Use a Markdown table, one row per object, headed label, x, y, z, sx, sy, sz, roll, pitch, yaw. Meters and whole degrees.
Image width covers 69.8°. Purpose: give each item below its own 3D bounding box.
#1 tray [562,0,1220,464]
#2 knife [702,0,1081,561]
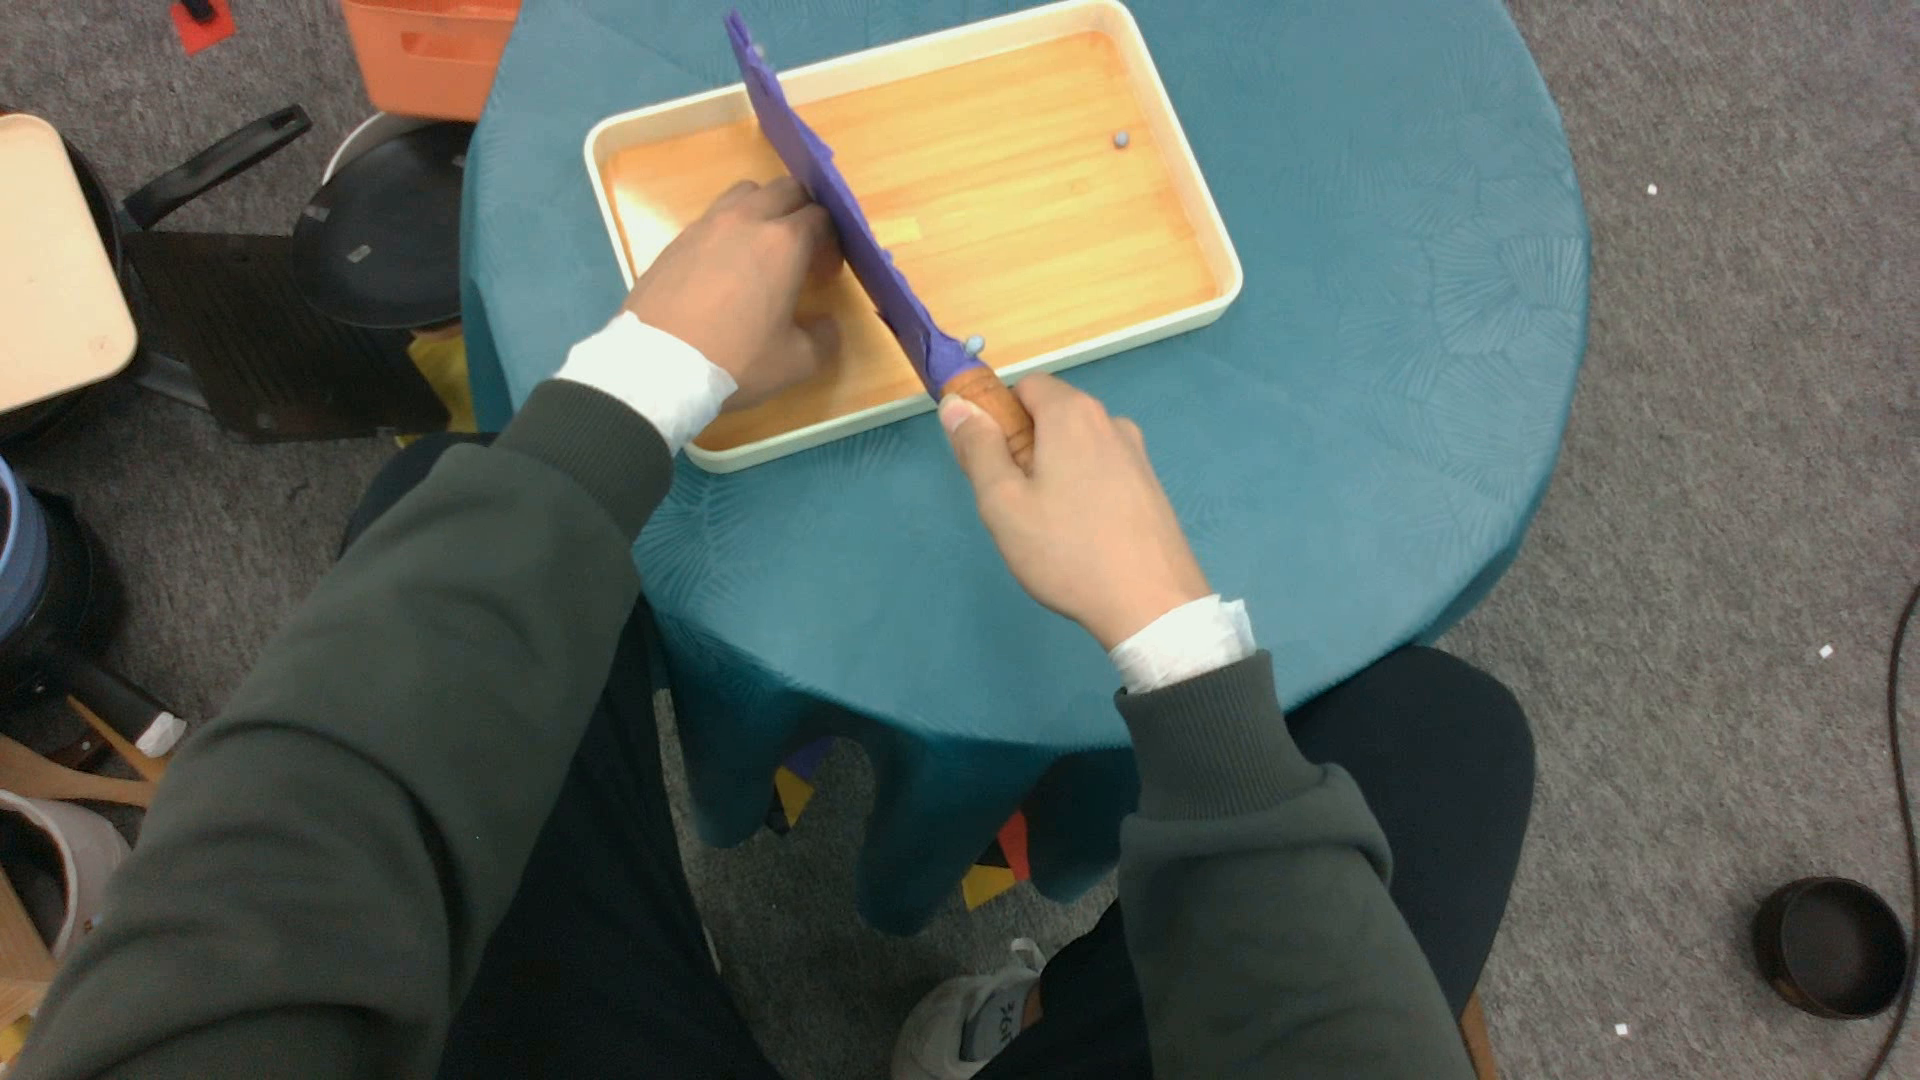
| label | x | y | z | sx | sy | sz | roll | pitch | yaw |
| --- | --- | --- | --- | --- | --- | --- | --- | --- | --- |
| tray | -0.033 | -0.167 | 0.711 | 0.301 | 0.027 | 0.192 | -19 | 76 | -12 |
| knife | -0.037 | -0.117 | 0.638 | 0.032 | 0.103 | 0.315 | -29 | 73 | -6 |
